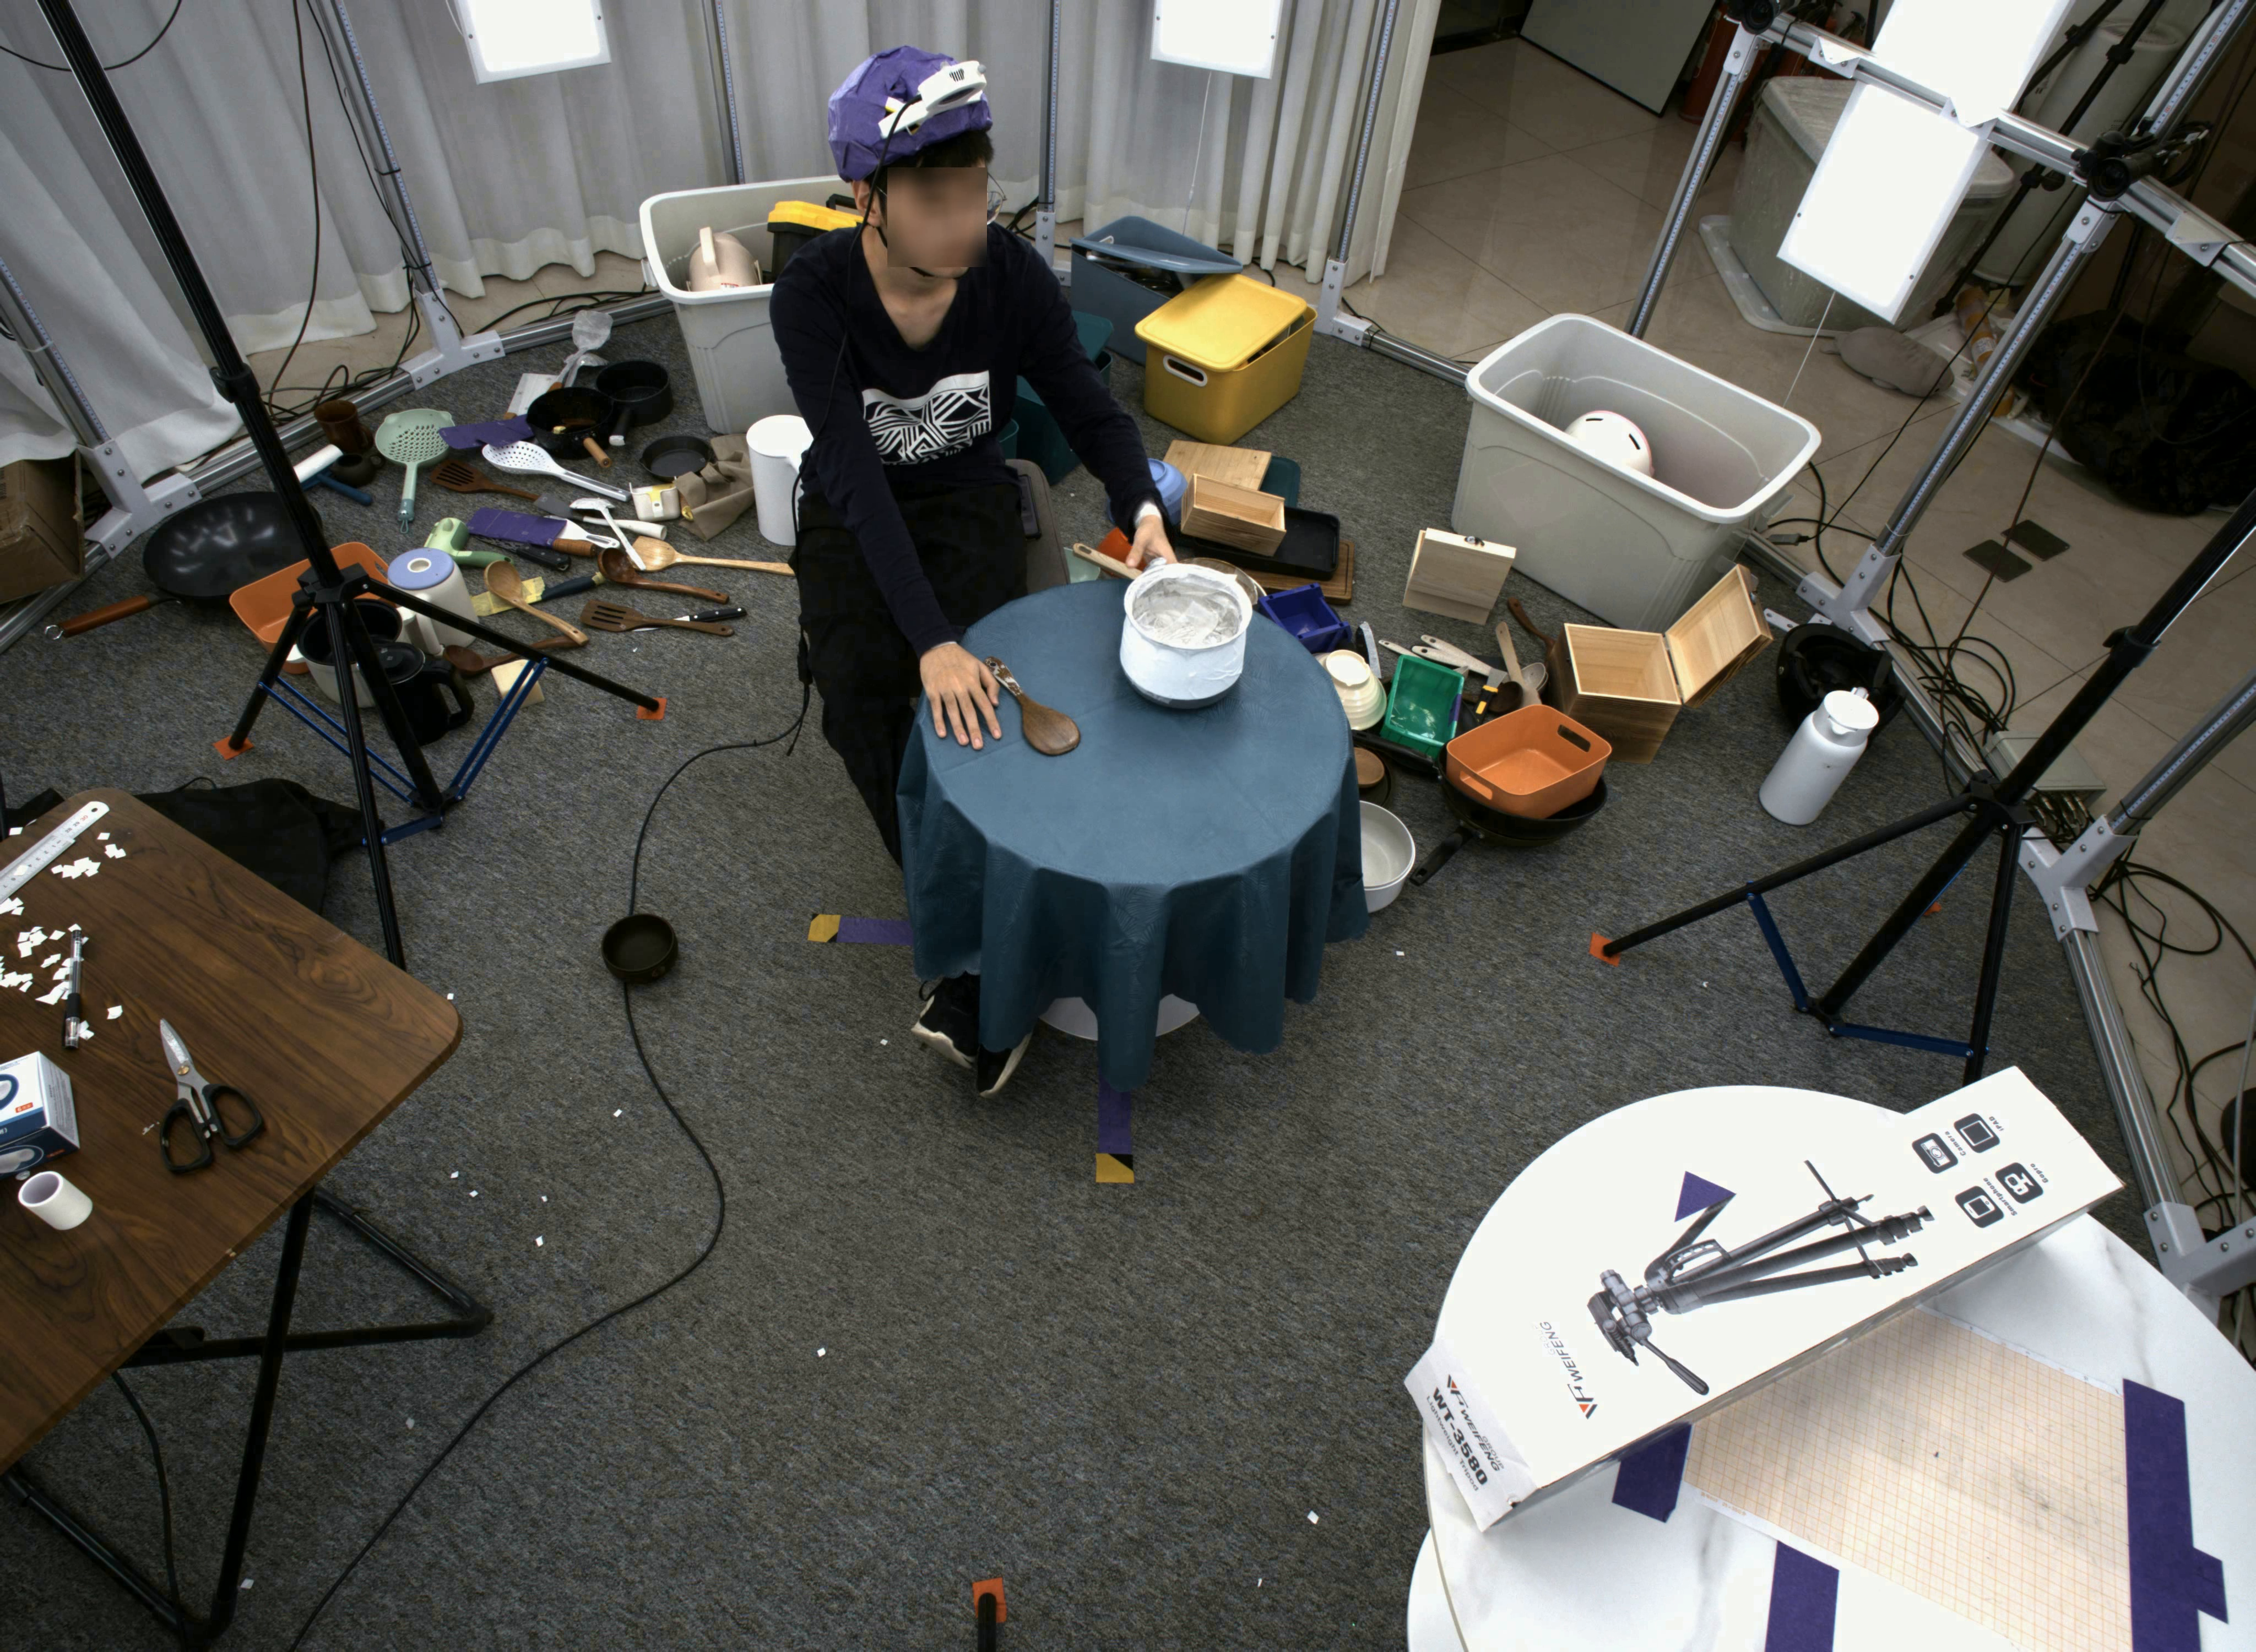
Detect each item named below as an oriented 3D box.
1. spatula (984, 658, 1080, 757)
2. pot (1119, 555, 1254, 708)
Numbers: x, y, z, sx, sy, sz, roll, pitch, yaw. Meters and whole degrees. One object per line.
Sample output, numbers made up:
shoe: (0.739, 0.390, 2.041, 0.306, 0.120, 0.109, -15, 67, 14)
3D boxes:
spatula: (-0.142, -0.173, 1.805, 0.072, 0.009, 0.220, -24, 54, -24)
pot: (0.068, -0.286, 1.829, 0.179, 0.133, 0.239, -14, 53, -19)
